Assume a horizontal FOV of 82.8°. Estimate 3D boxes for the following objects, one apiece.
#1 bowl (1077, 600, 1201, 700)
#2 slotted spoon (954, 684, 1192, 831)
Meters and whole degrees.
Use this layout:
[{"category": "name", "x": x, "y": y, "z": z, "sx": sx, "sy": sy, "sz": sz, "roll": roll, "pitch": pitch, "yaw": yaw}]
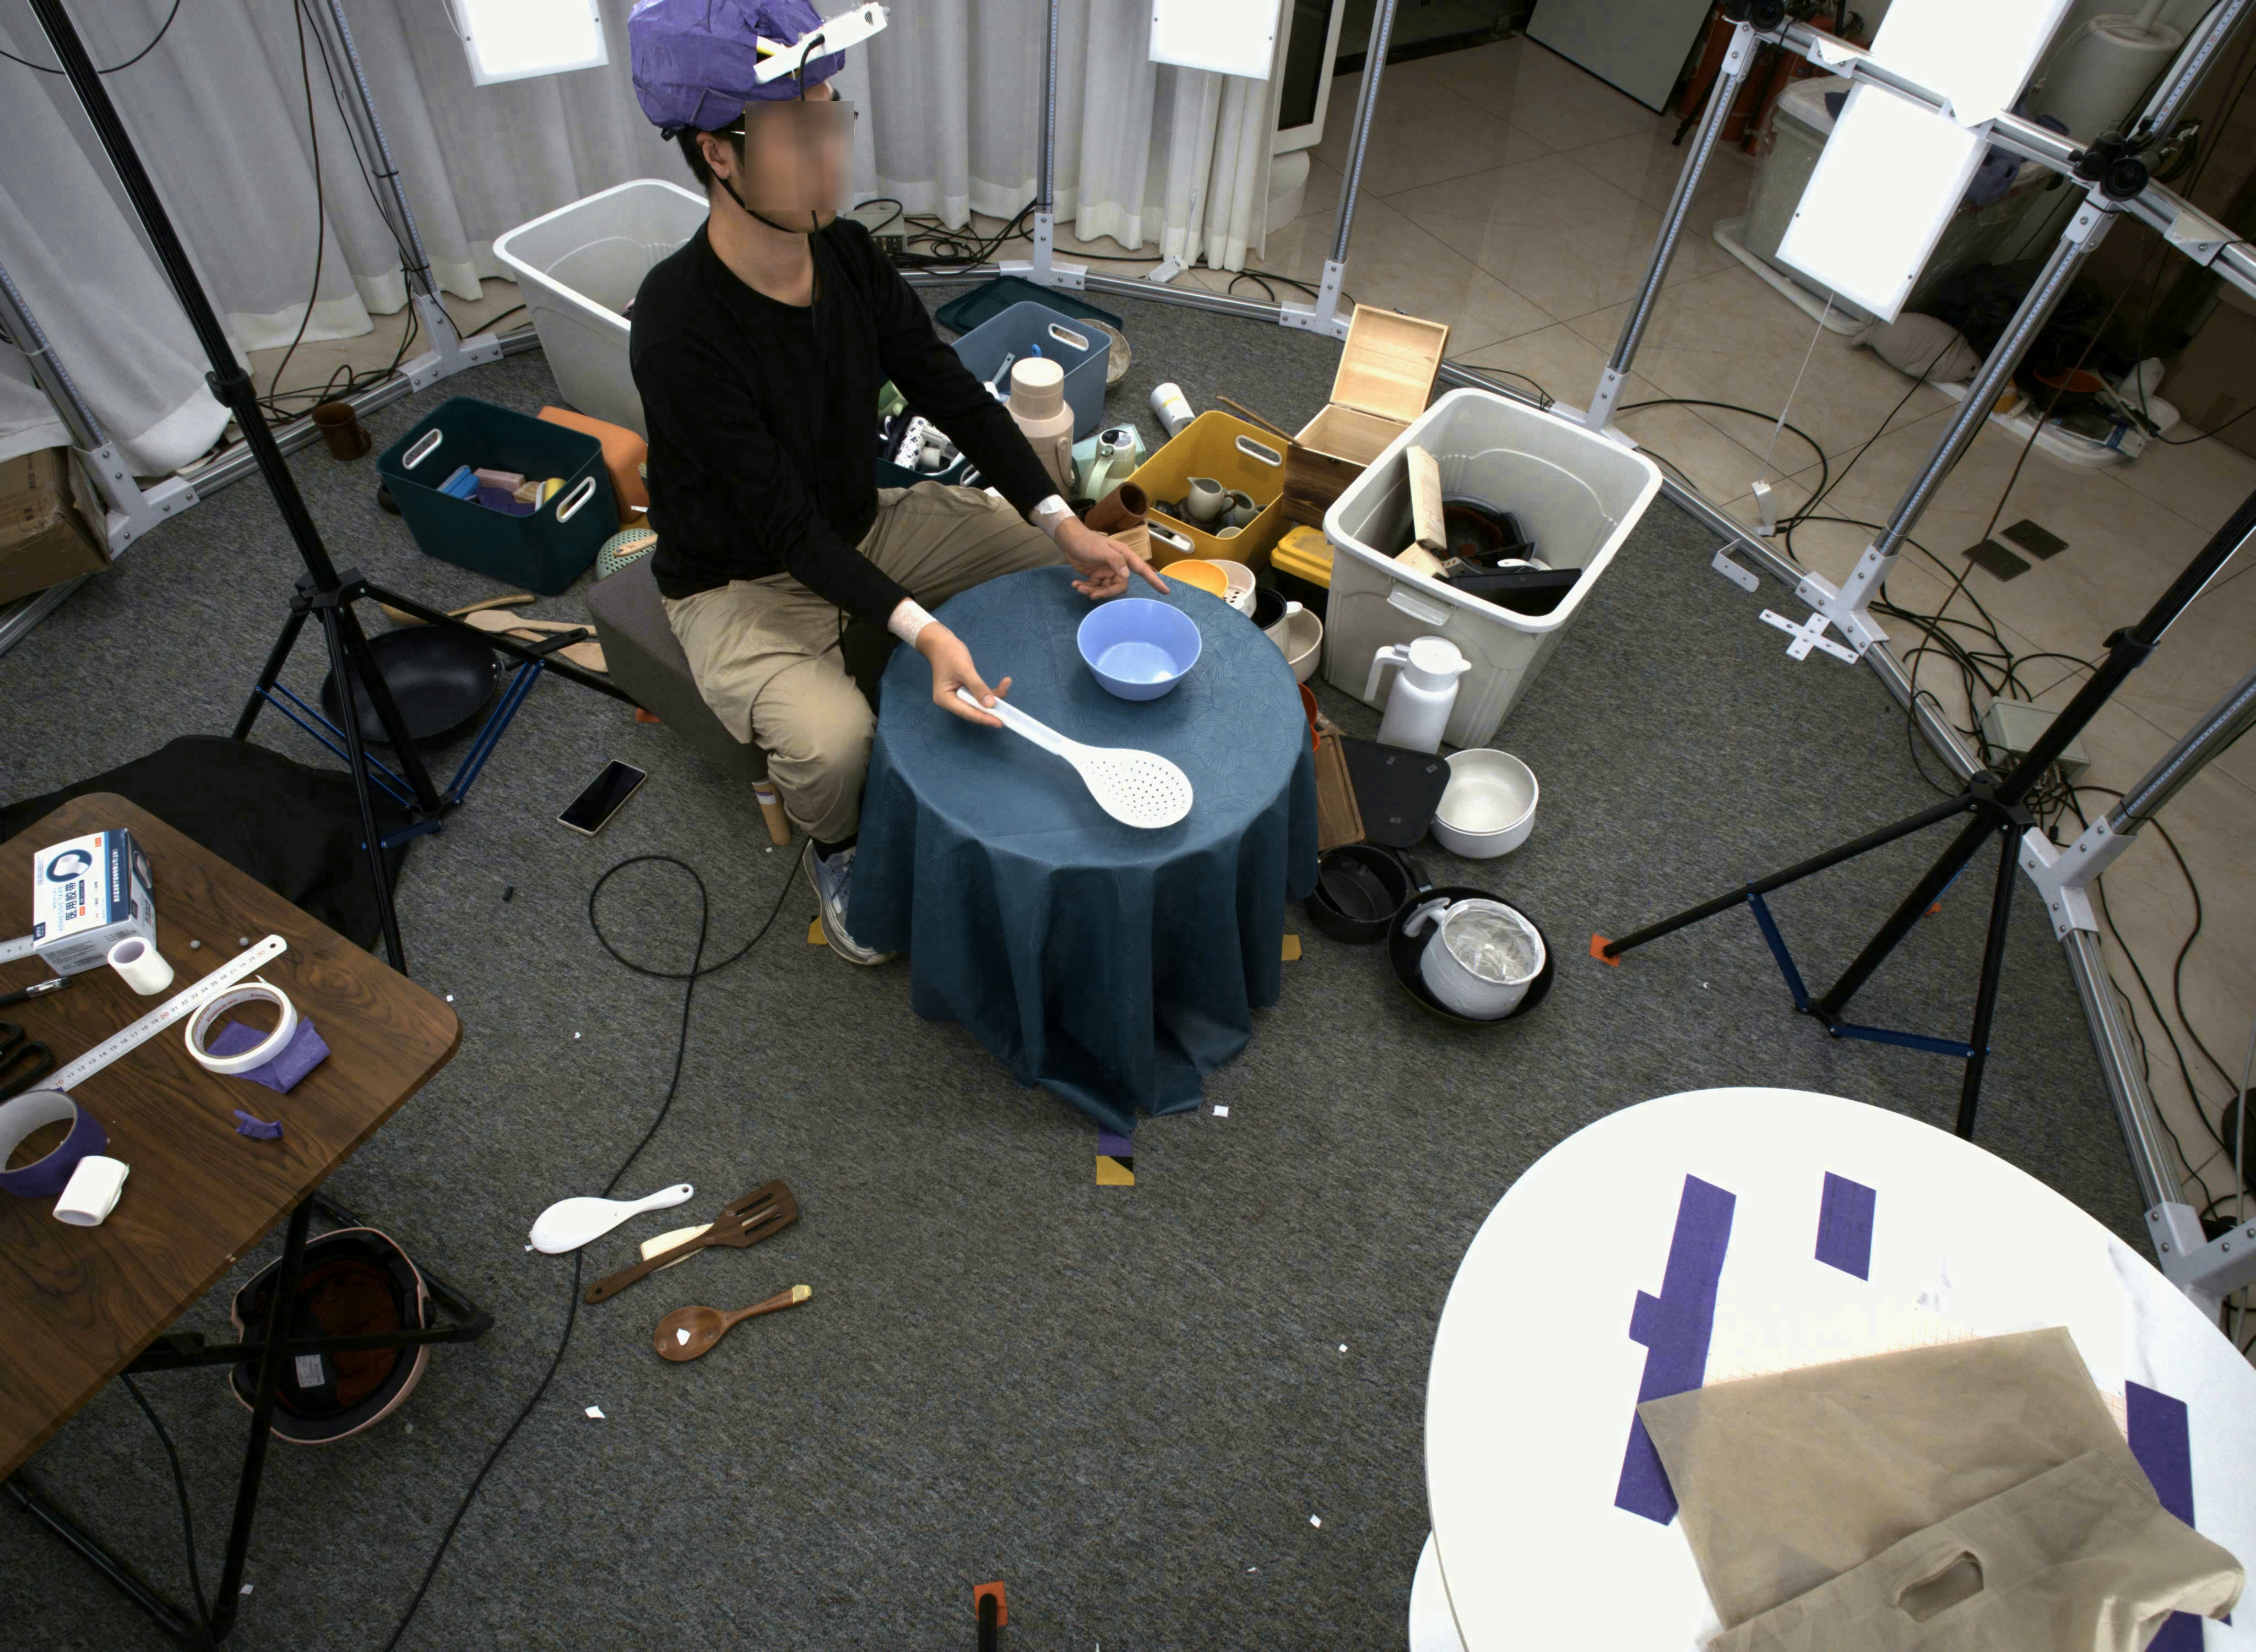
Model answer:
[{"category": "bowl", "x": 0.014, "y": -0.244, "z": 1.837, "sx": 0.176, "sy": 0.068, "sz": 0.180, "roll": 1, "pitch": 49, "yaw": -2}, {"category": "slotted spoon", "x": -0.077, "y": -0.095, "z": 1.686, "sx": 0.351, "sy": 0.045, "sz": 0.138, "roll": 32, "pitch": 49, "yaw": 7}]
